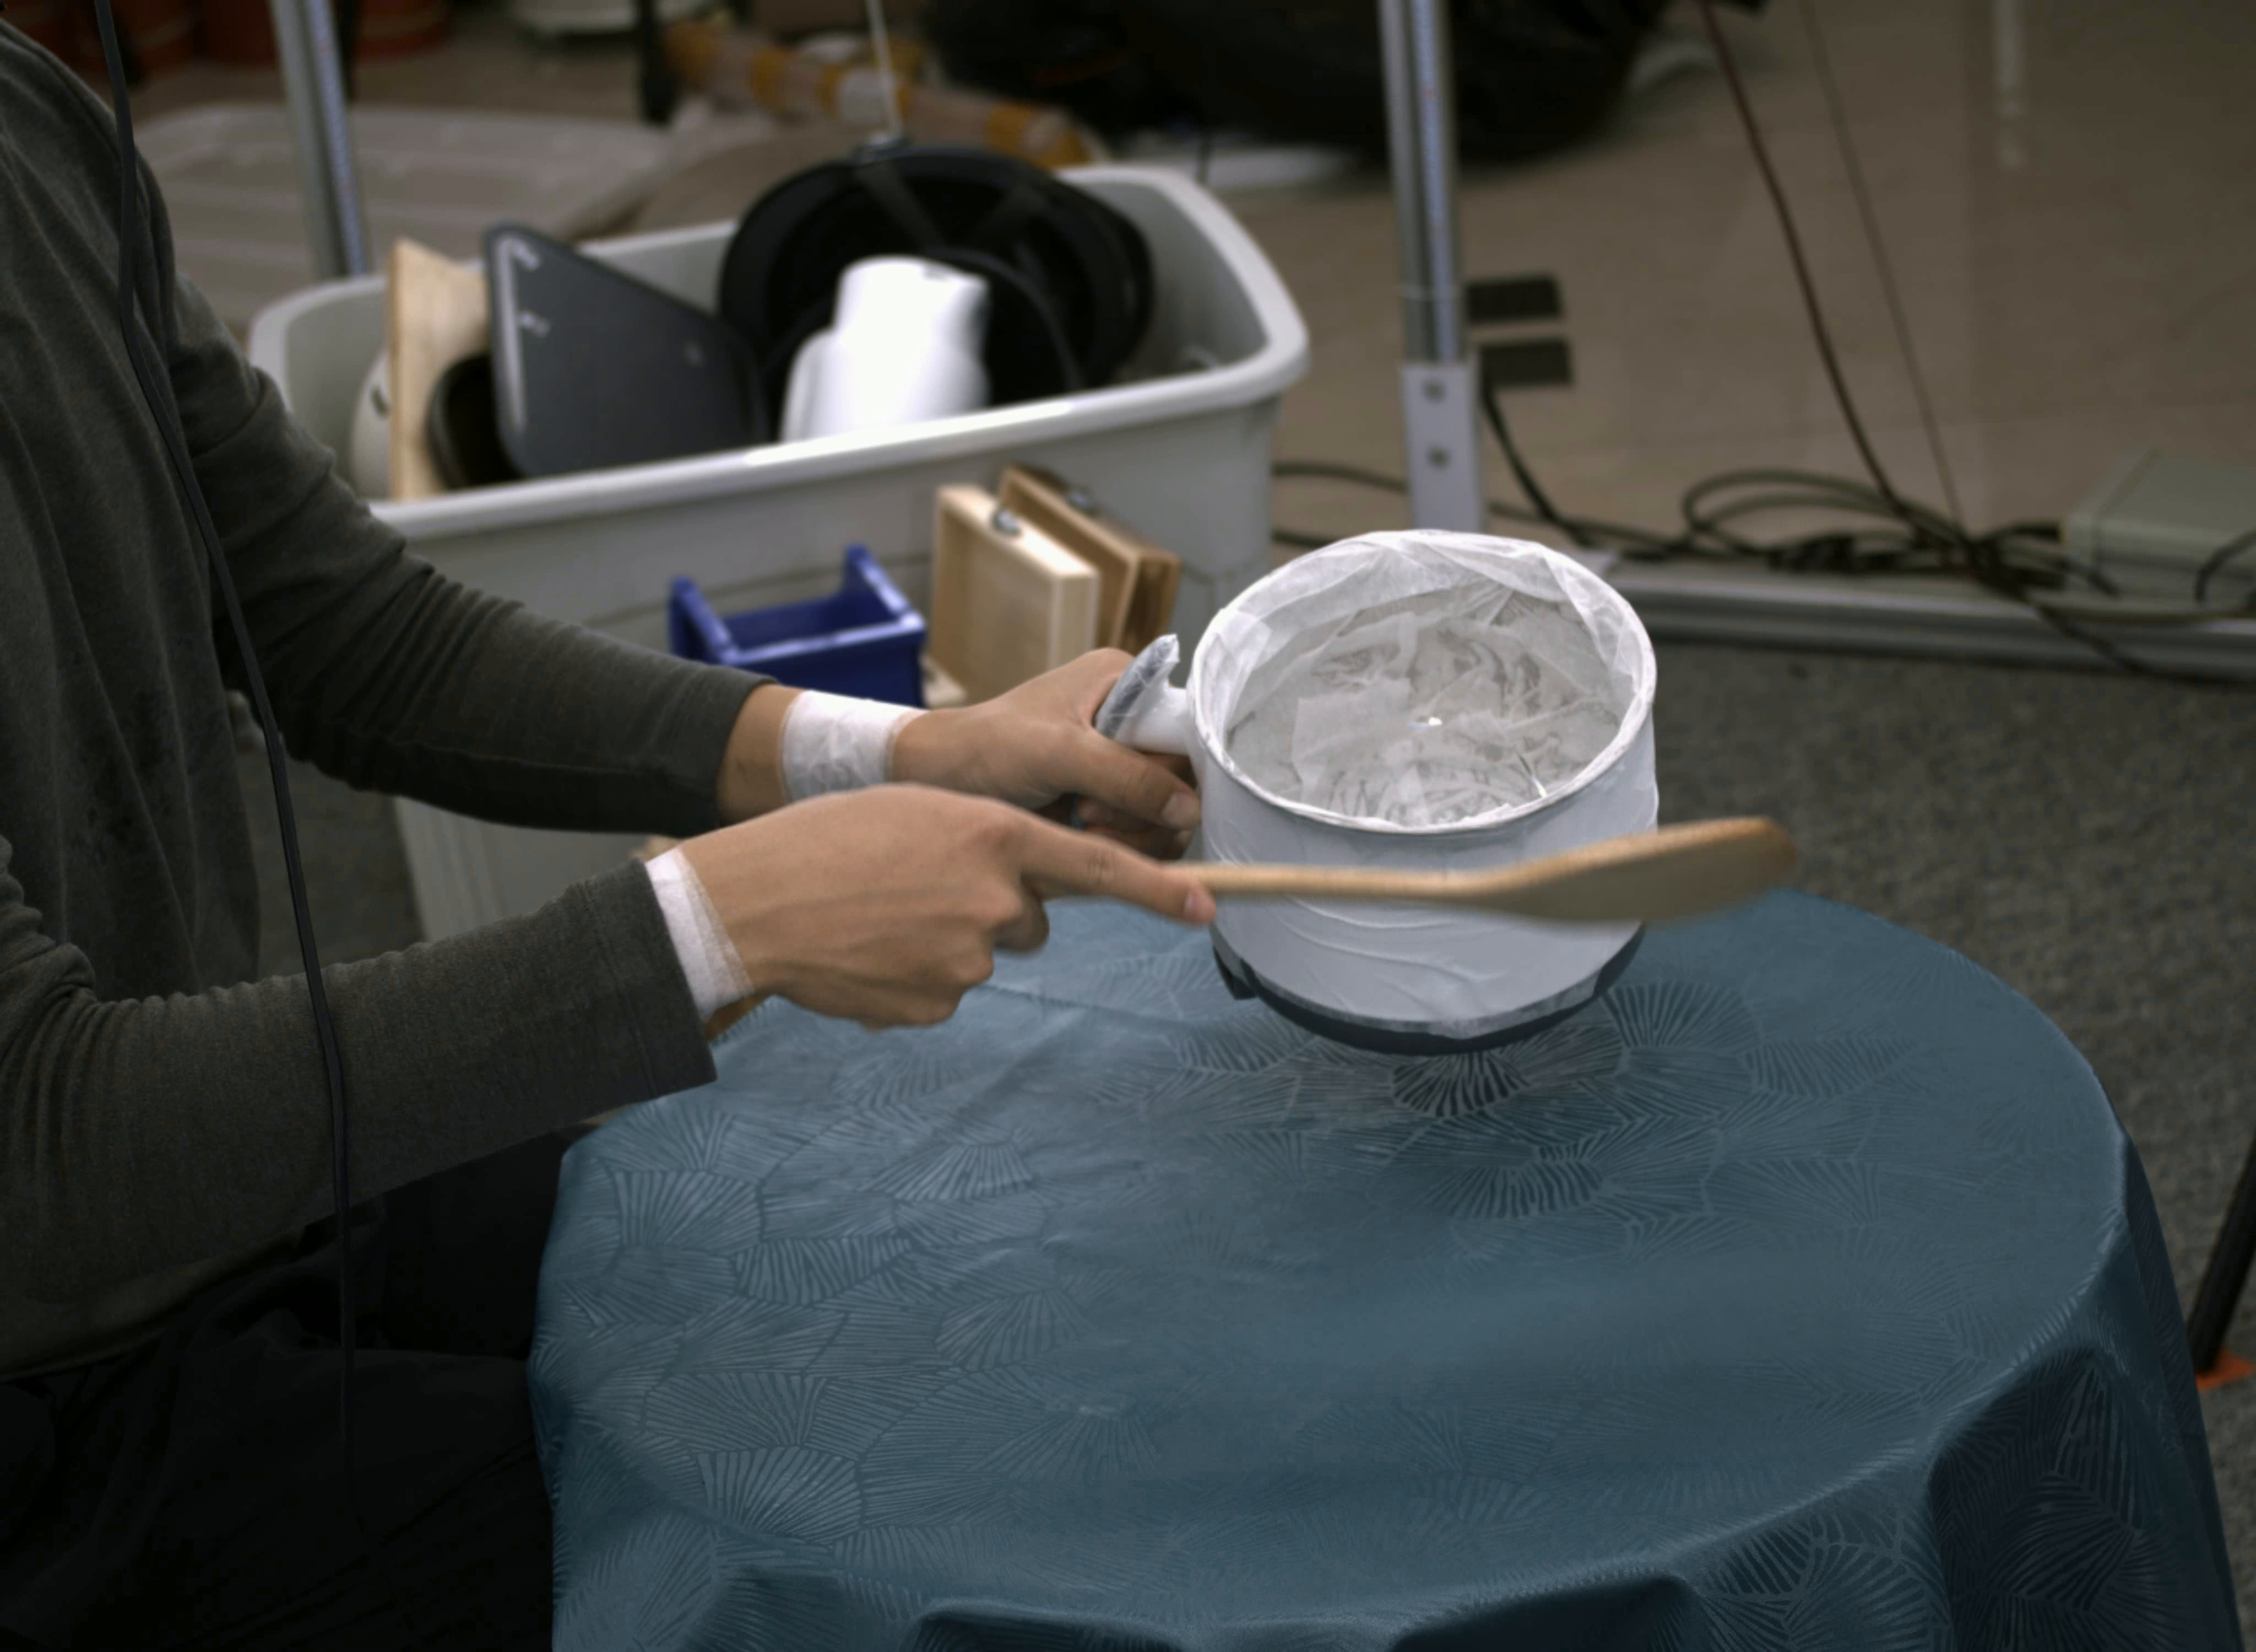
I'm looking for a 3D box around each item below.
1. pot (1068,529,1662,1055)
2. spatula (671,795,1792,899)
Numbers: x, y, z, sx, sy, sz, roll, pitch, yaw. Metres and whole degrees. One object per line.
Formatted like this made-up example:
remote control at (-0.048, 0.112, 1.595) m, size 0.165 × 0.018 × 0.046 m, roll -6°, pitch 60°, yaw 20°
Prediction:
pot at (0.089, -0.013, 2.176) m, size 0.233 × 0.139 × 0.175 m, roll 7°, pitch 42°, yaw 12°
spatula at (0.035, 0.011, 1.972) m, size 0.390 × 0.018 × 0.096 m, roll -1°, pitch -14°, yaw 1°
